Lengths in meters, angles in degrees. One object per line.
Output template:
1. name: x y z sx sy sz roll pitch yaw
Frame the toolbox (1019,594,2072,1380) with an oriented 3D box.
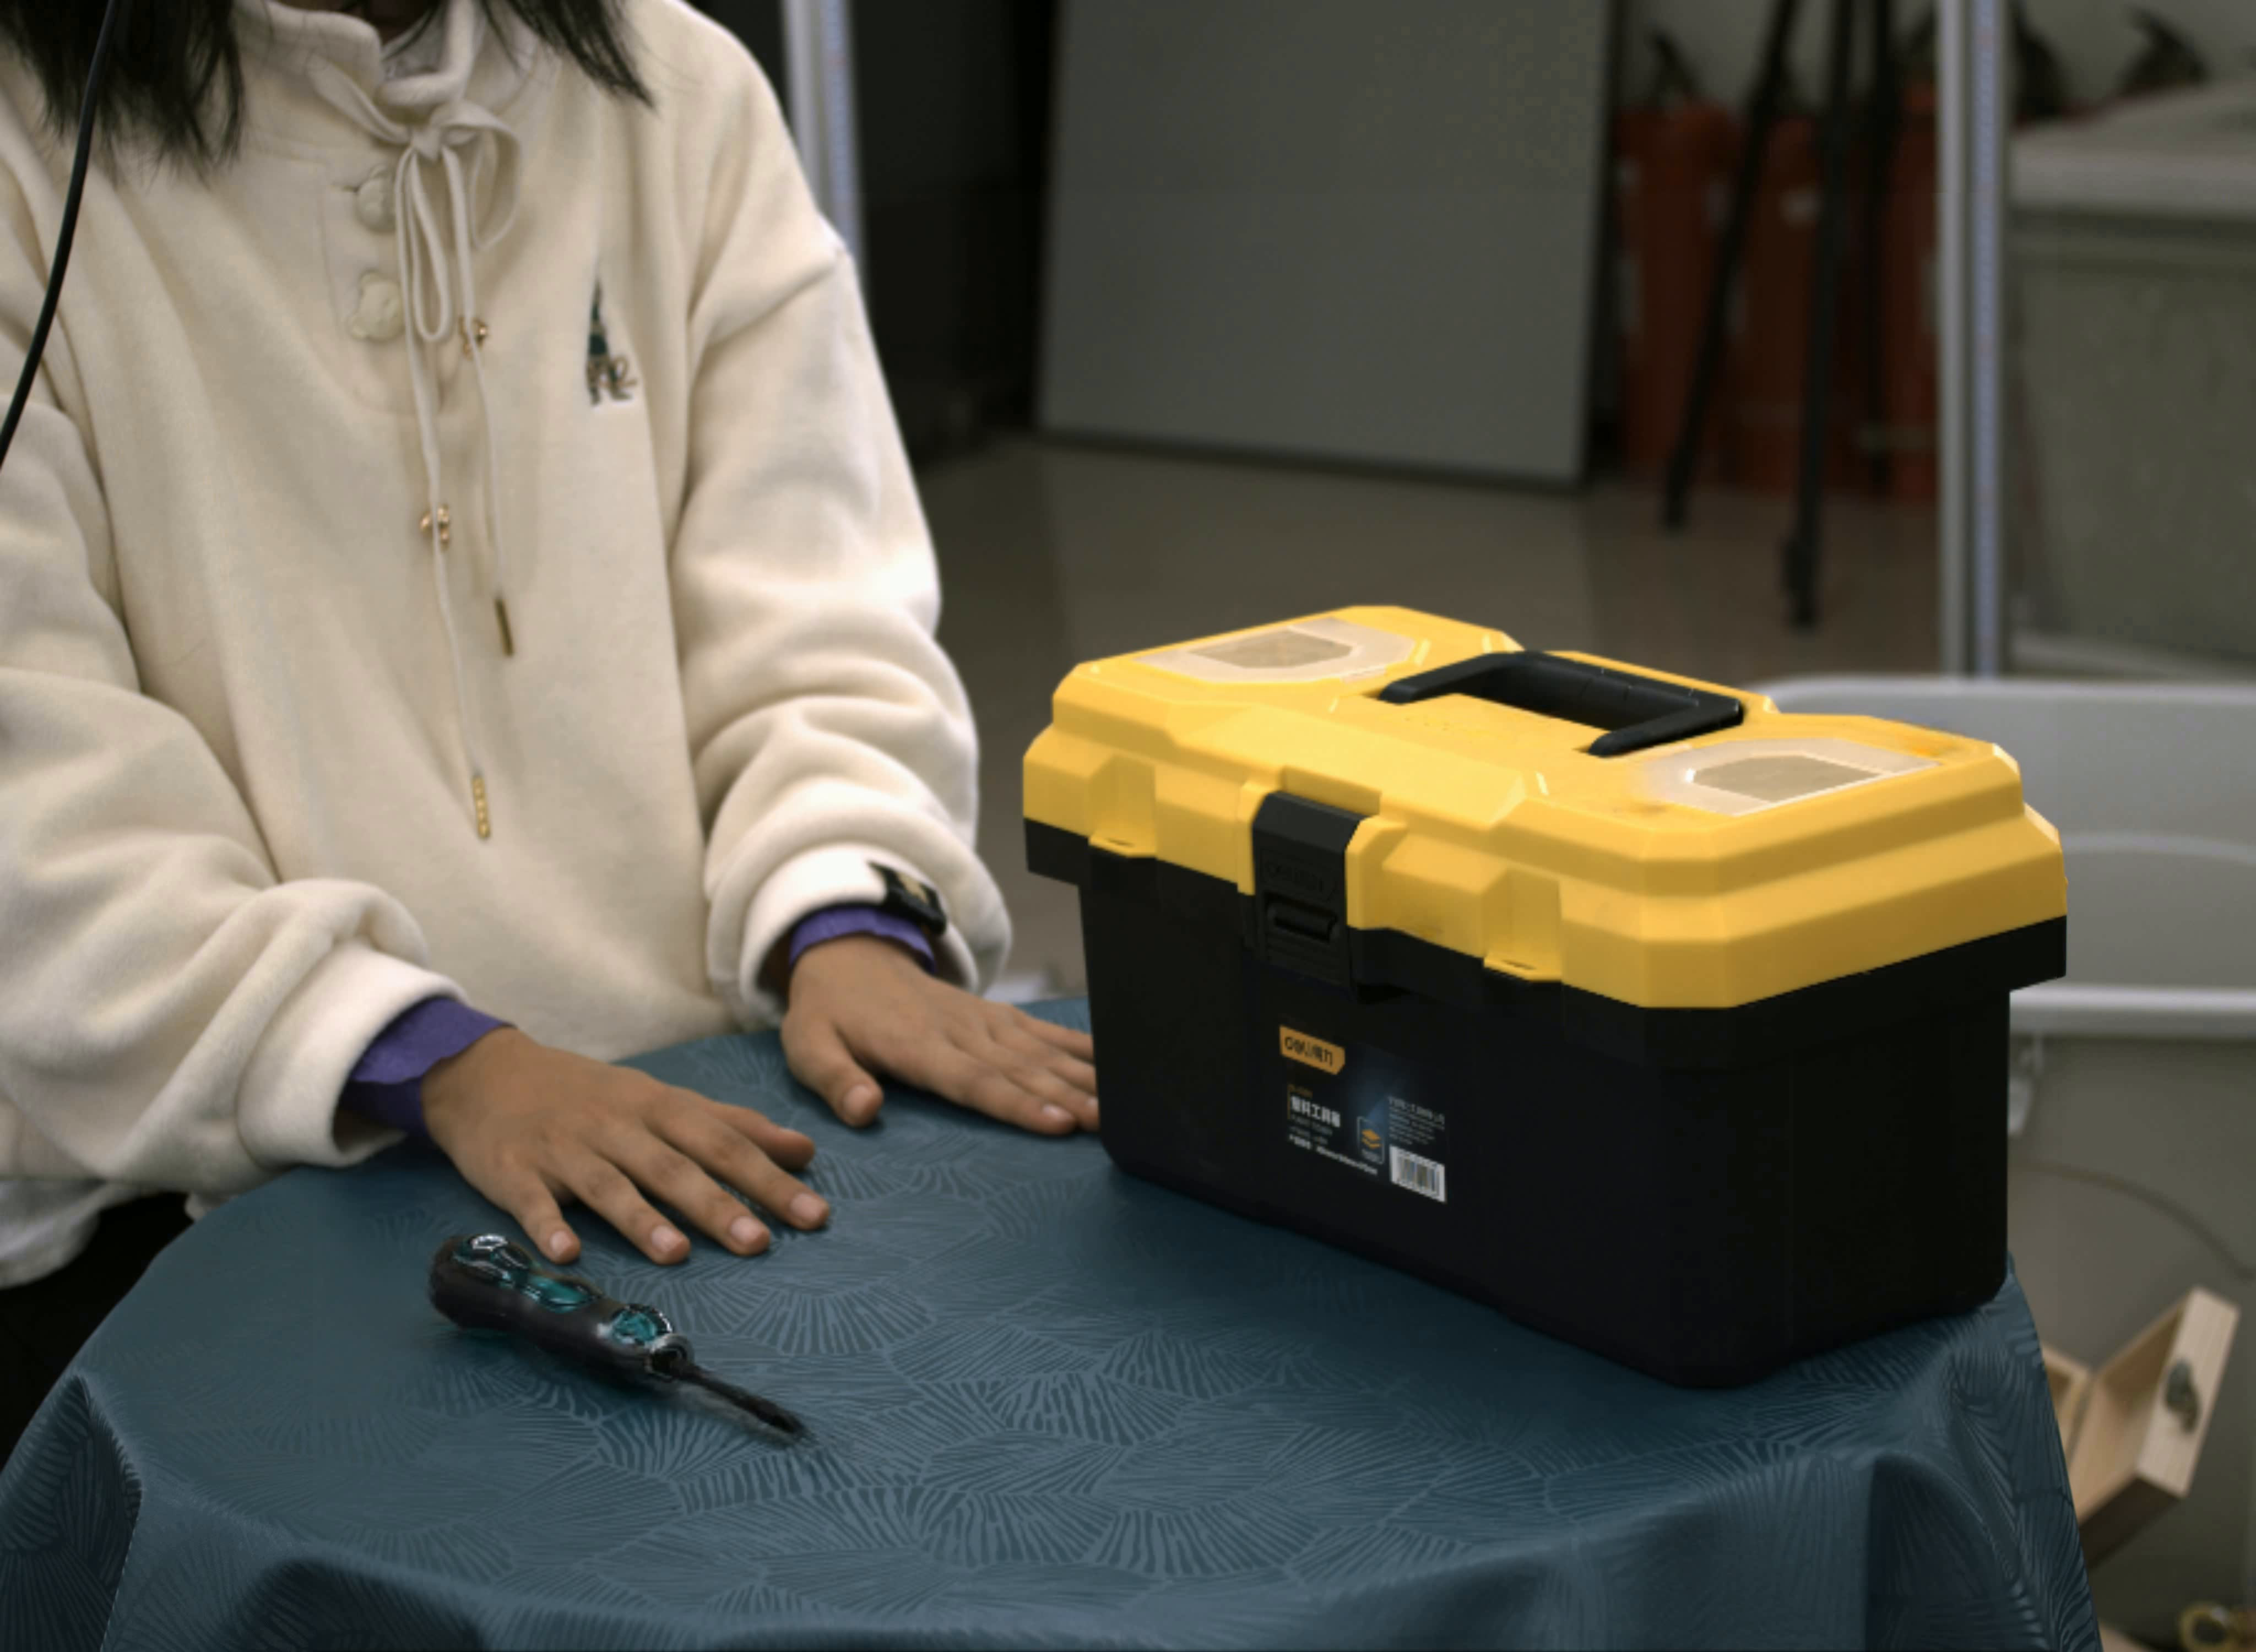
1. toolbox: 0.123 0.043 1.684 0.177 0.175 0.355 -12 16 -32

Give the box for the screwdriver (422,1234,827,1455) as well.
1. screwdriver: -0.149 0.159 1.617 0.033 0.034 0.192 -14 21 -39
